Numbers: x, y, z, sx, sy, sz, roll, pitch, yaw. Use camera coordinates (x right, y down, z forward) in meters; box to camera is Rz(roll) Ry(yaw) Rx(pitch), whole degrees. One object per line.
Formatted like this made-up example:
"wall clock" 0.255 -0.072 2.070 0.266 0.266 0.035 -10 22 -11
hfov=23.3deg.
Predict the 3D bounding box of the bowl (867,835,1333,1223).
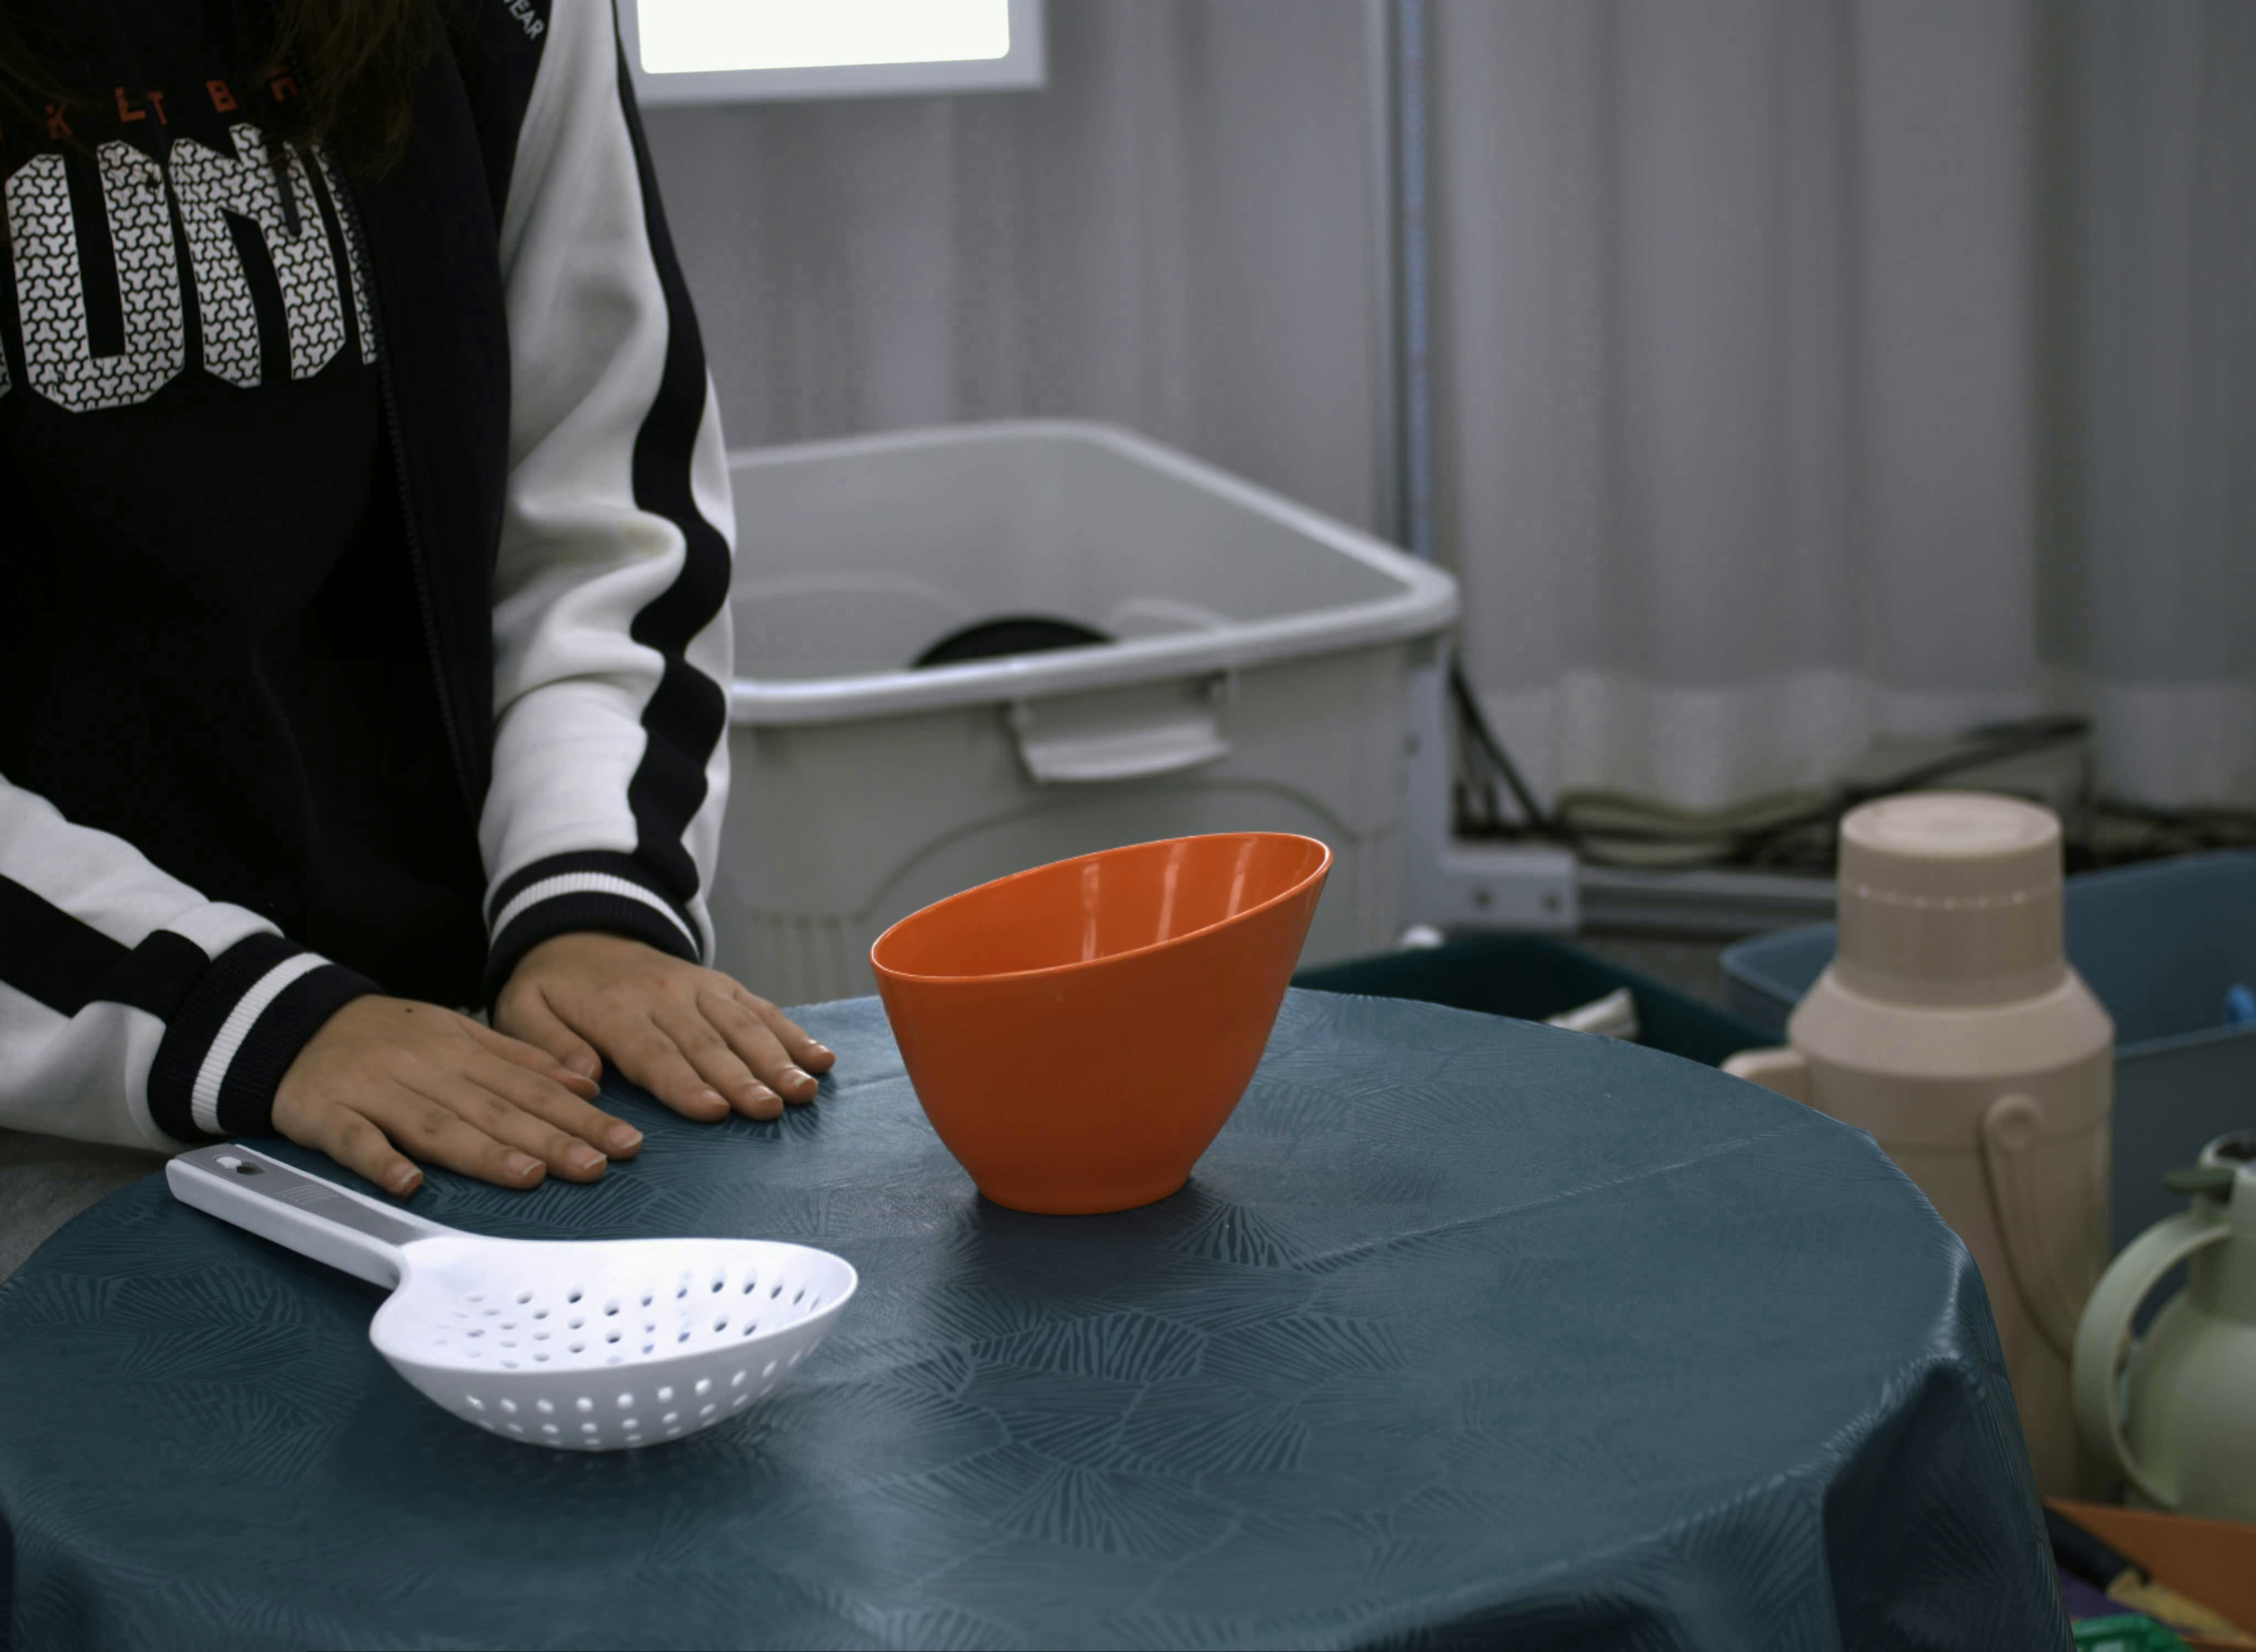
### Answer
"bowl" -0.007 0.065 1.710 0.147 0.104 0.149 -4 15 1

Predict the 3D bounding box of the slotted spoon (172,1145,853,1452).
"slotted spoon" -0.202 0.129 1.612 0.135 0.045 0.352 -11 16 -32
